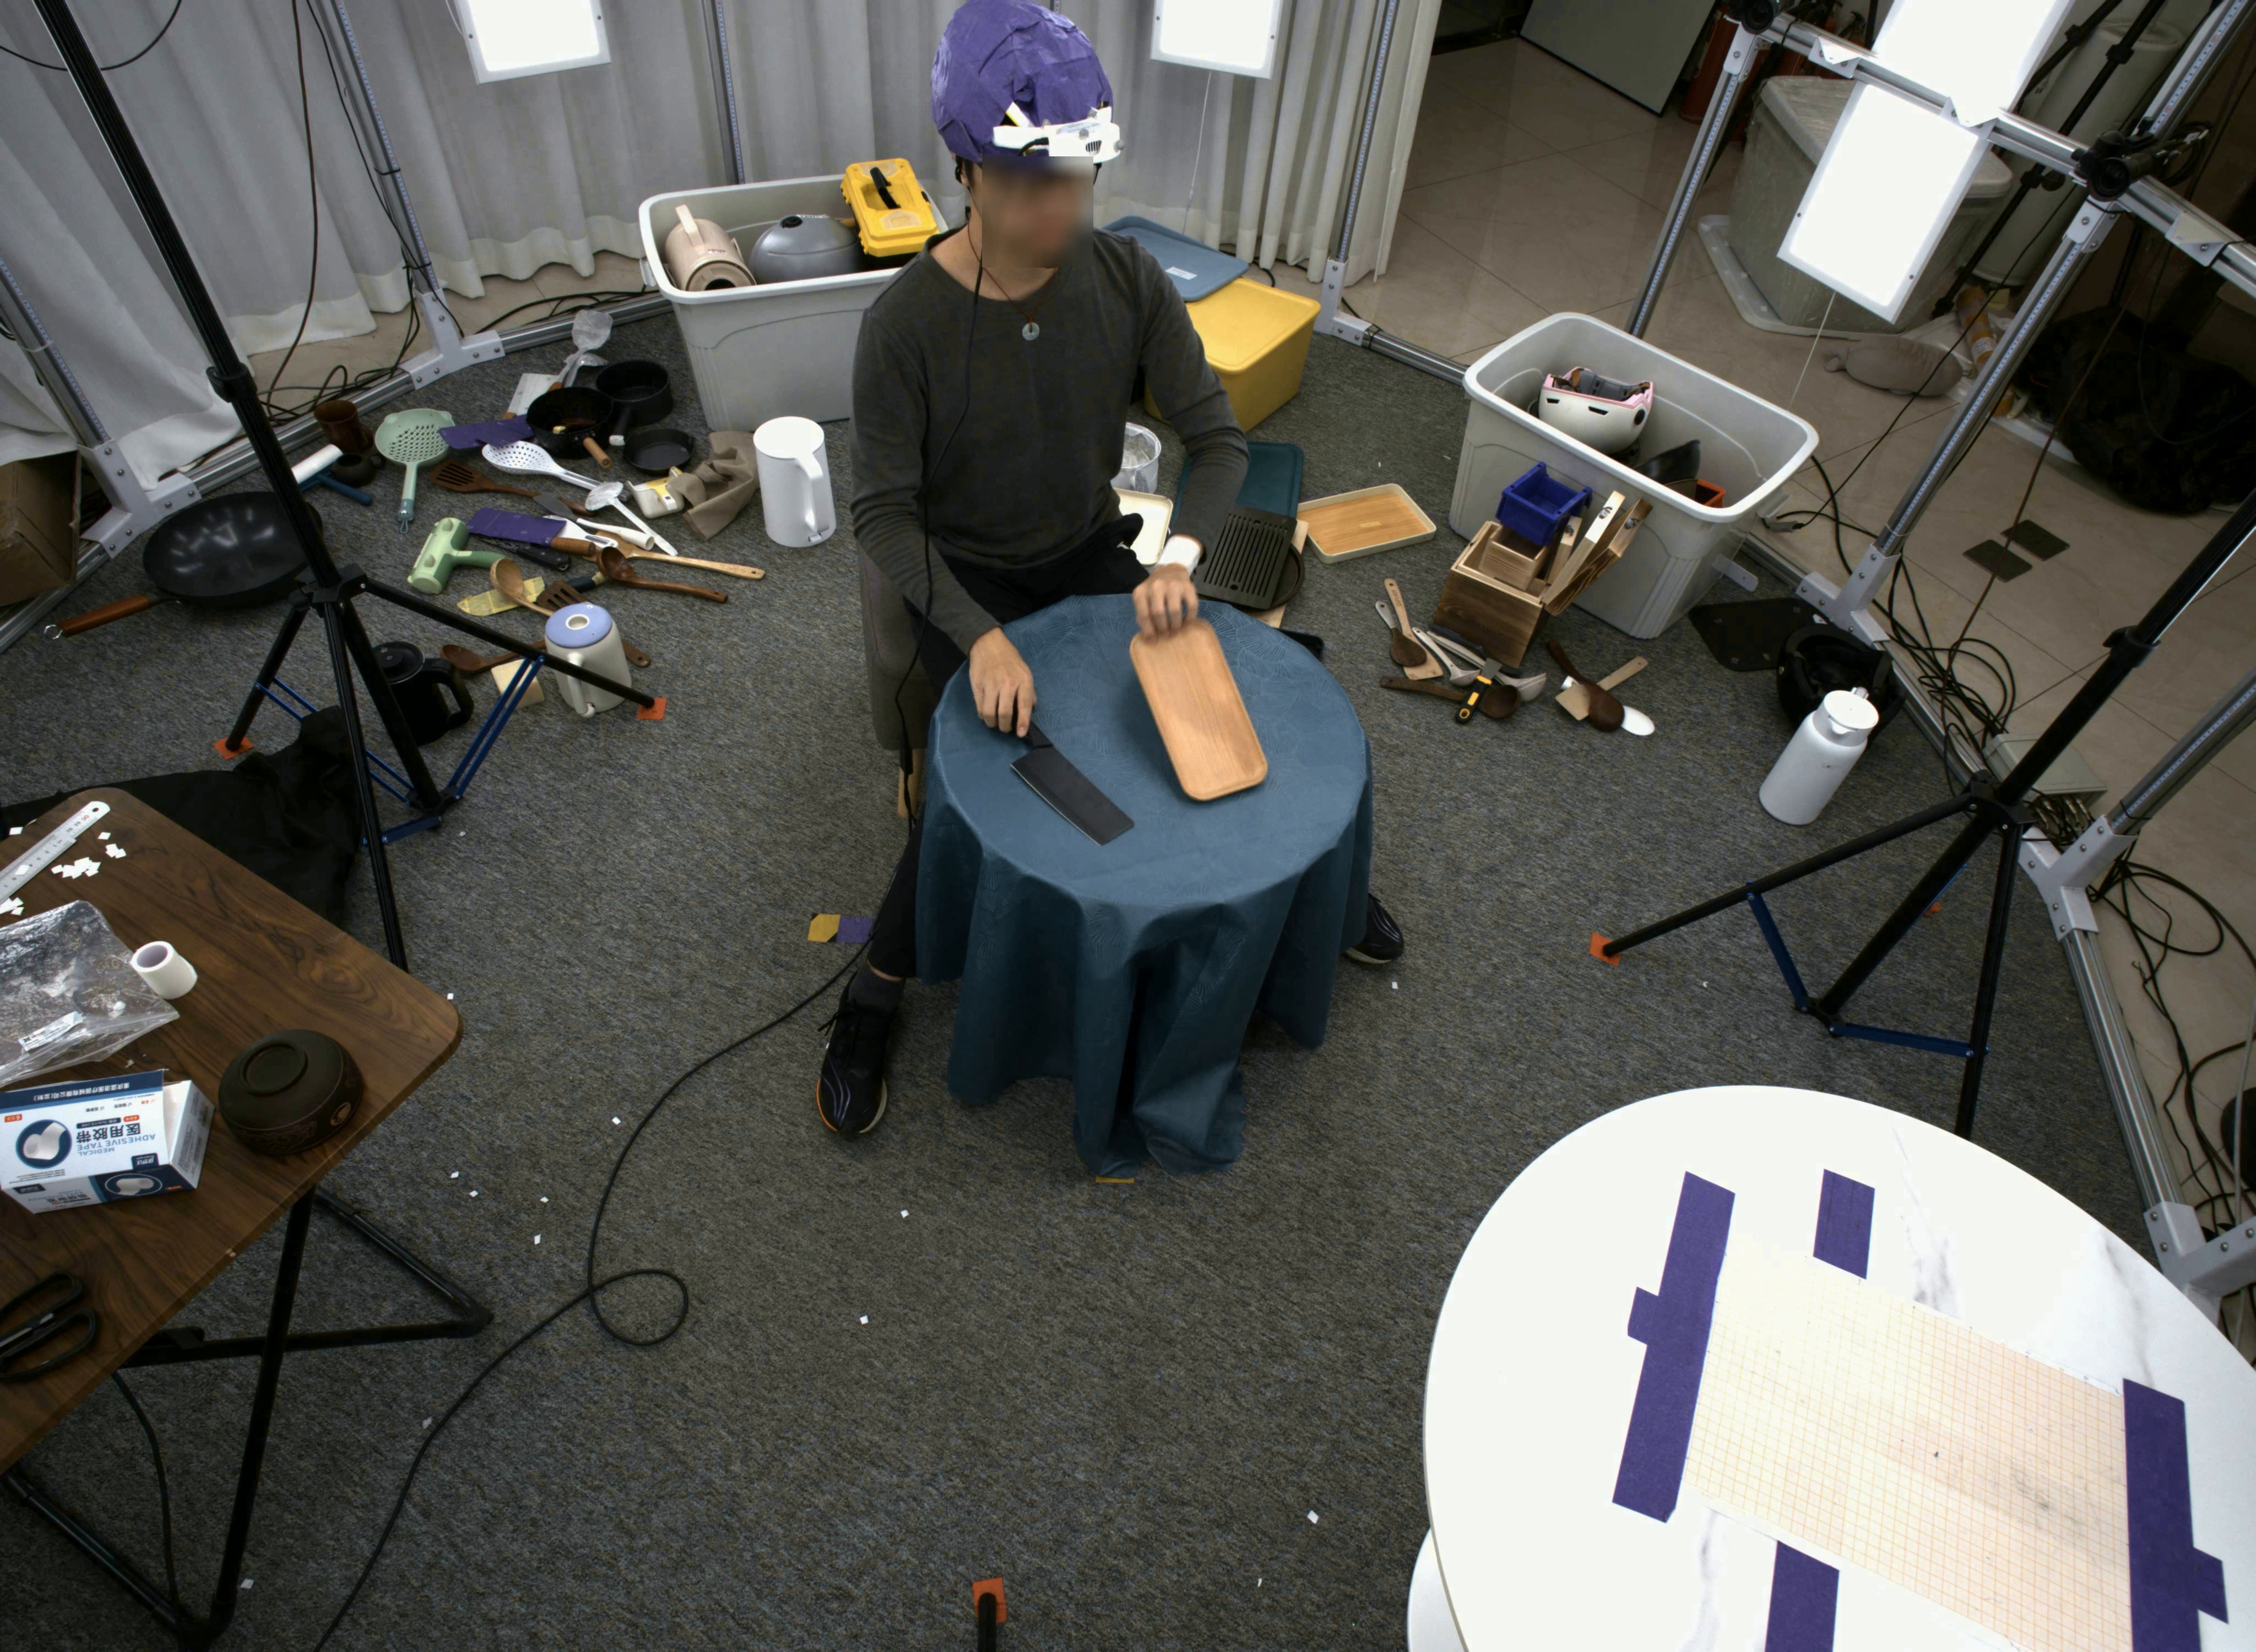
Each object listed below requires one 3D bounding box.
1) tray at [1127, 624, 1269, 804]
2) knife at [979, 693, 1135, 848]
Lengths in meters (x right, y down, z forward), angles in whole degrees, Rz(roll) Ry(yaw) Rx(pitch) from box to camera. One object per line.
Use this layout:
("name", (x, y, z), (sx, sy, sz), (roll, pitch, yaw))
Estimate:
("tray", (0.094, -0.154, 1.738), (0.131, 0.022, 0.254), (-16, 73, -20))
("knife", (-0.107, -0.080, 1.720), (0.081, 0.020, 0.308), (-28, 58, -23))
